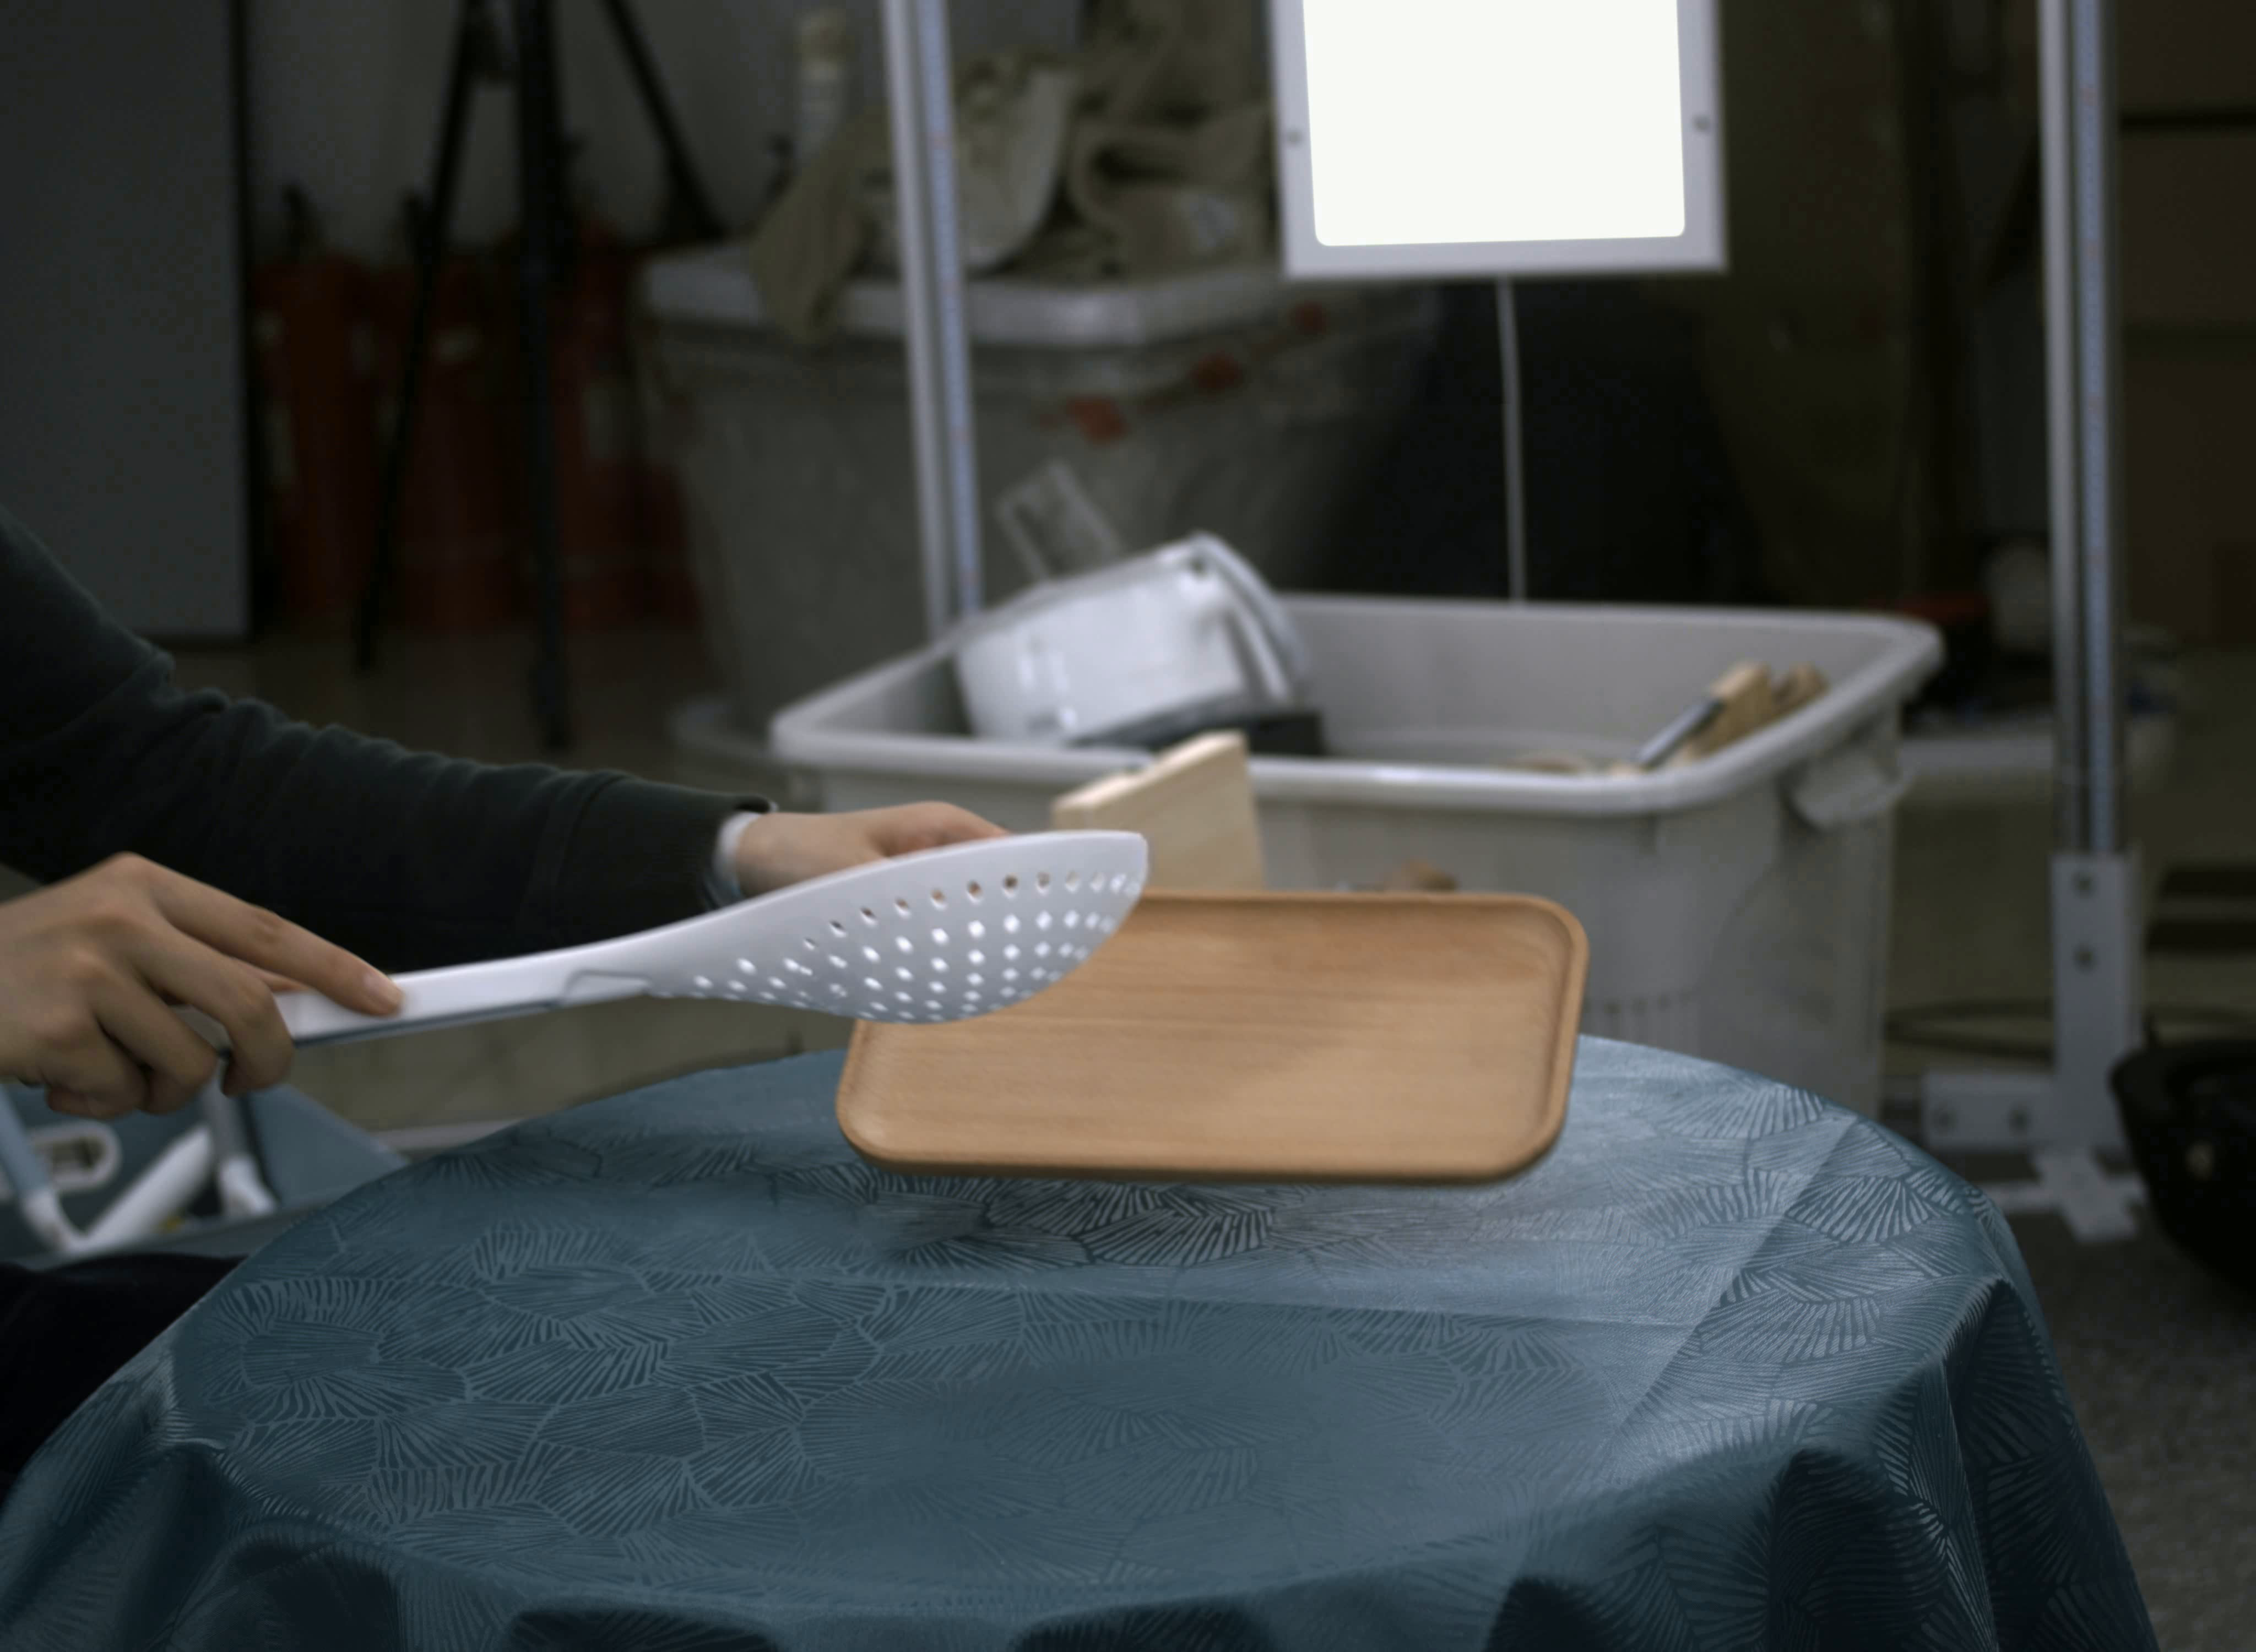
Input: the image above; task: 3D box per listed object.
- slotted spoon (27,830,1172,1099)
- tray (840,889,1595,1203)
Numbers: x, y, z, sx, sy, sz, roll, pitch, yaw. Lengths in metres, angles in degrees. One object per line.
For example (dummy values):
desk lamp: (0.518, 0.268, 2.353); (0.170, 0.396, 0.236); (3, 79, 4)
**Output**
slotted spoon: (-0.156, 0.044, 1.665); (0.346, 0.046, 0.137); (-5, -11, -7)
tray: (0.031, 0.074, 1.862); (0.253, 0.023, 0.129); (1, 45, 17)
